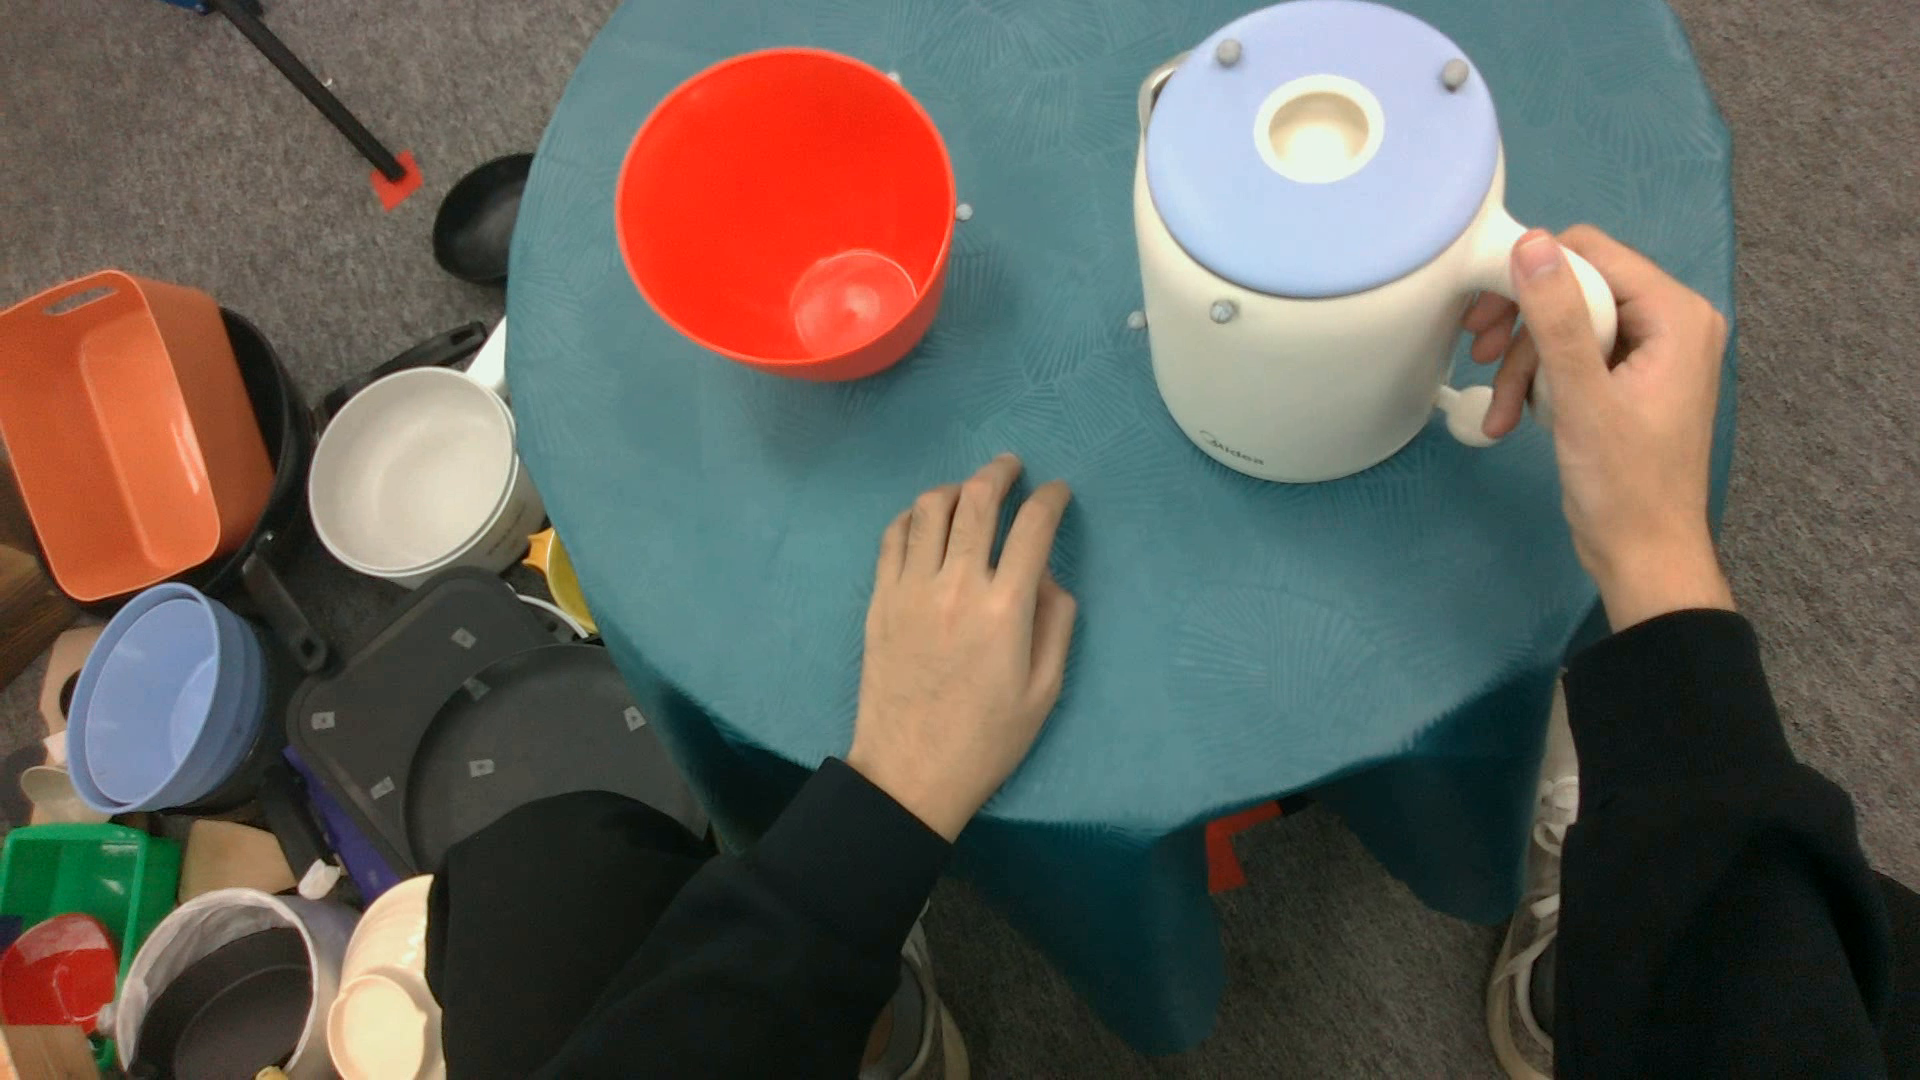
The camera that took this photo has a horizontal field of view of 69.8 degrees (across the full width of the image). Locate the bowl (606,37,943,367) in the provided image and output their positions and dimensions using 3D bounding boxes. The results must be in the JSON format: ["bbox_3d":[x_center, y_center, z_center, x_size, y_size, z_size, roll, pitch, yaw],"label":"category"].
[{"bbox_3d":[-0.074,-0.141,0.639,0.148,0.104,0.148,-3,71,9],"label":"bowl"}]

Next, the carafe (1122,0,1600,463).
[{"bbox_3d":[0.155,-0.108,0.550,0.191,0.182,0.132,27,79,15],"label":"carafe"}]
